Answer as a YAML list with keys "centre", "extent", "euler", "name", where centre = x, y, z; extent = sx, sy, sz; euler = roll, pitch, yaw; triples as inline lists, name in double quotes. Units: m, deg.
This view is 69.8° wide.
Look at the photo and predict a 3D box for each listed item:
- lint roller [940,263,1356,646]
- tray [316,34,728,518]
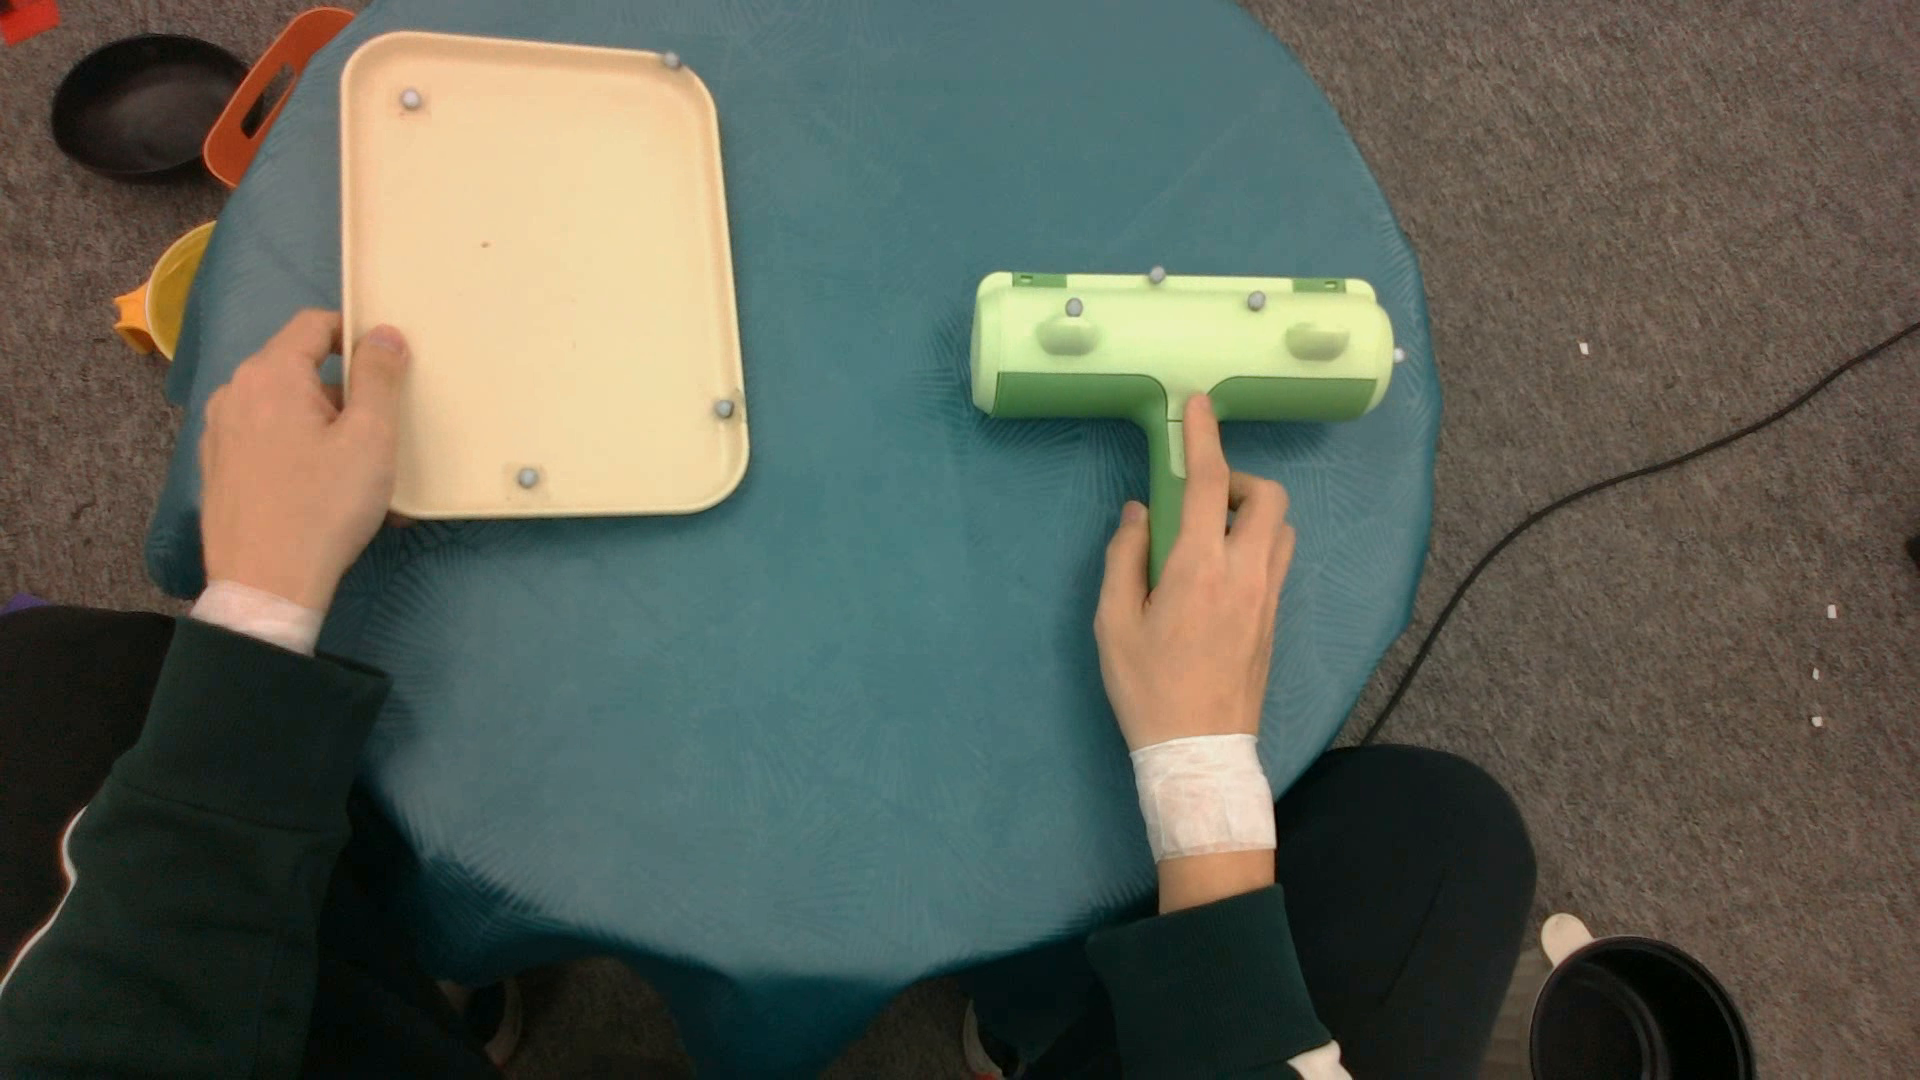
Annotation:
- centre: [0.094, -0.048, 0.636]
  extent: [0.199, 0.082, 0.184]
  euler: [-1, 67, -7]
  name: "lint roller"
- centre: [-0.203, -0.126, 0.639]
  extent: [0.171, 0.017, 0.240]
  euler: [-3, 74, -18]
  name: "tray"
